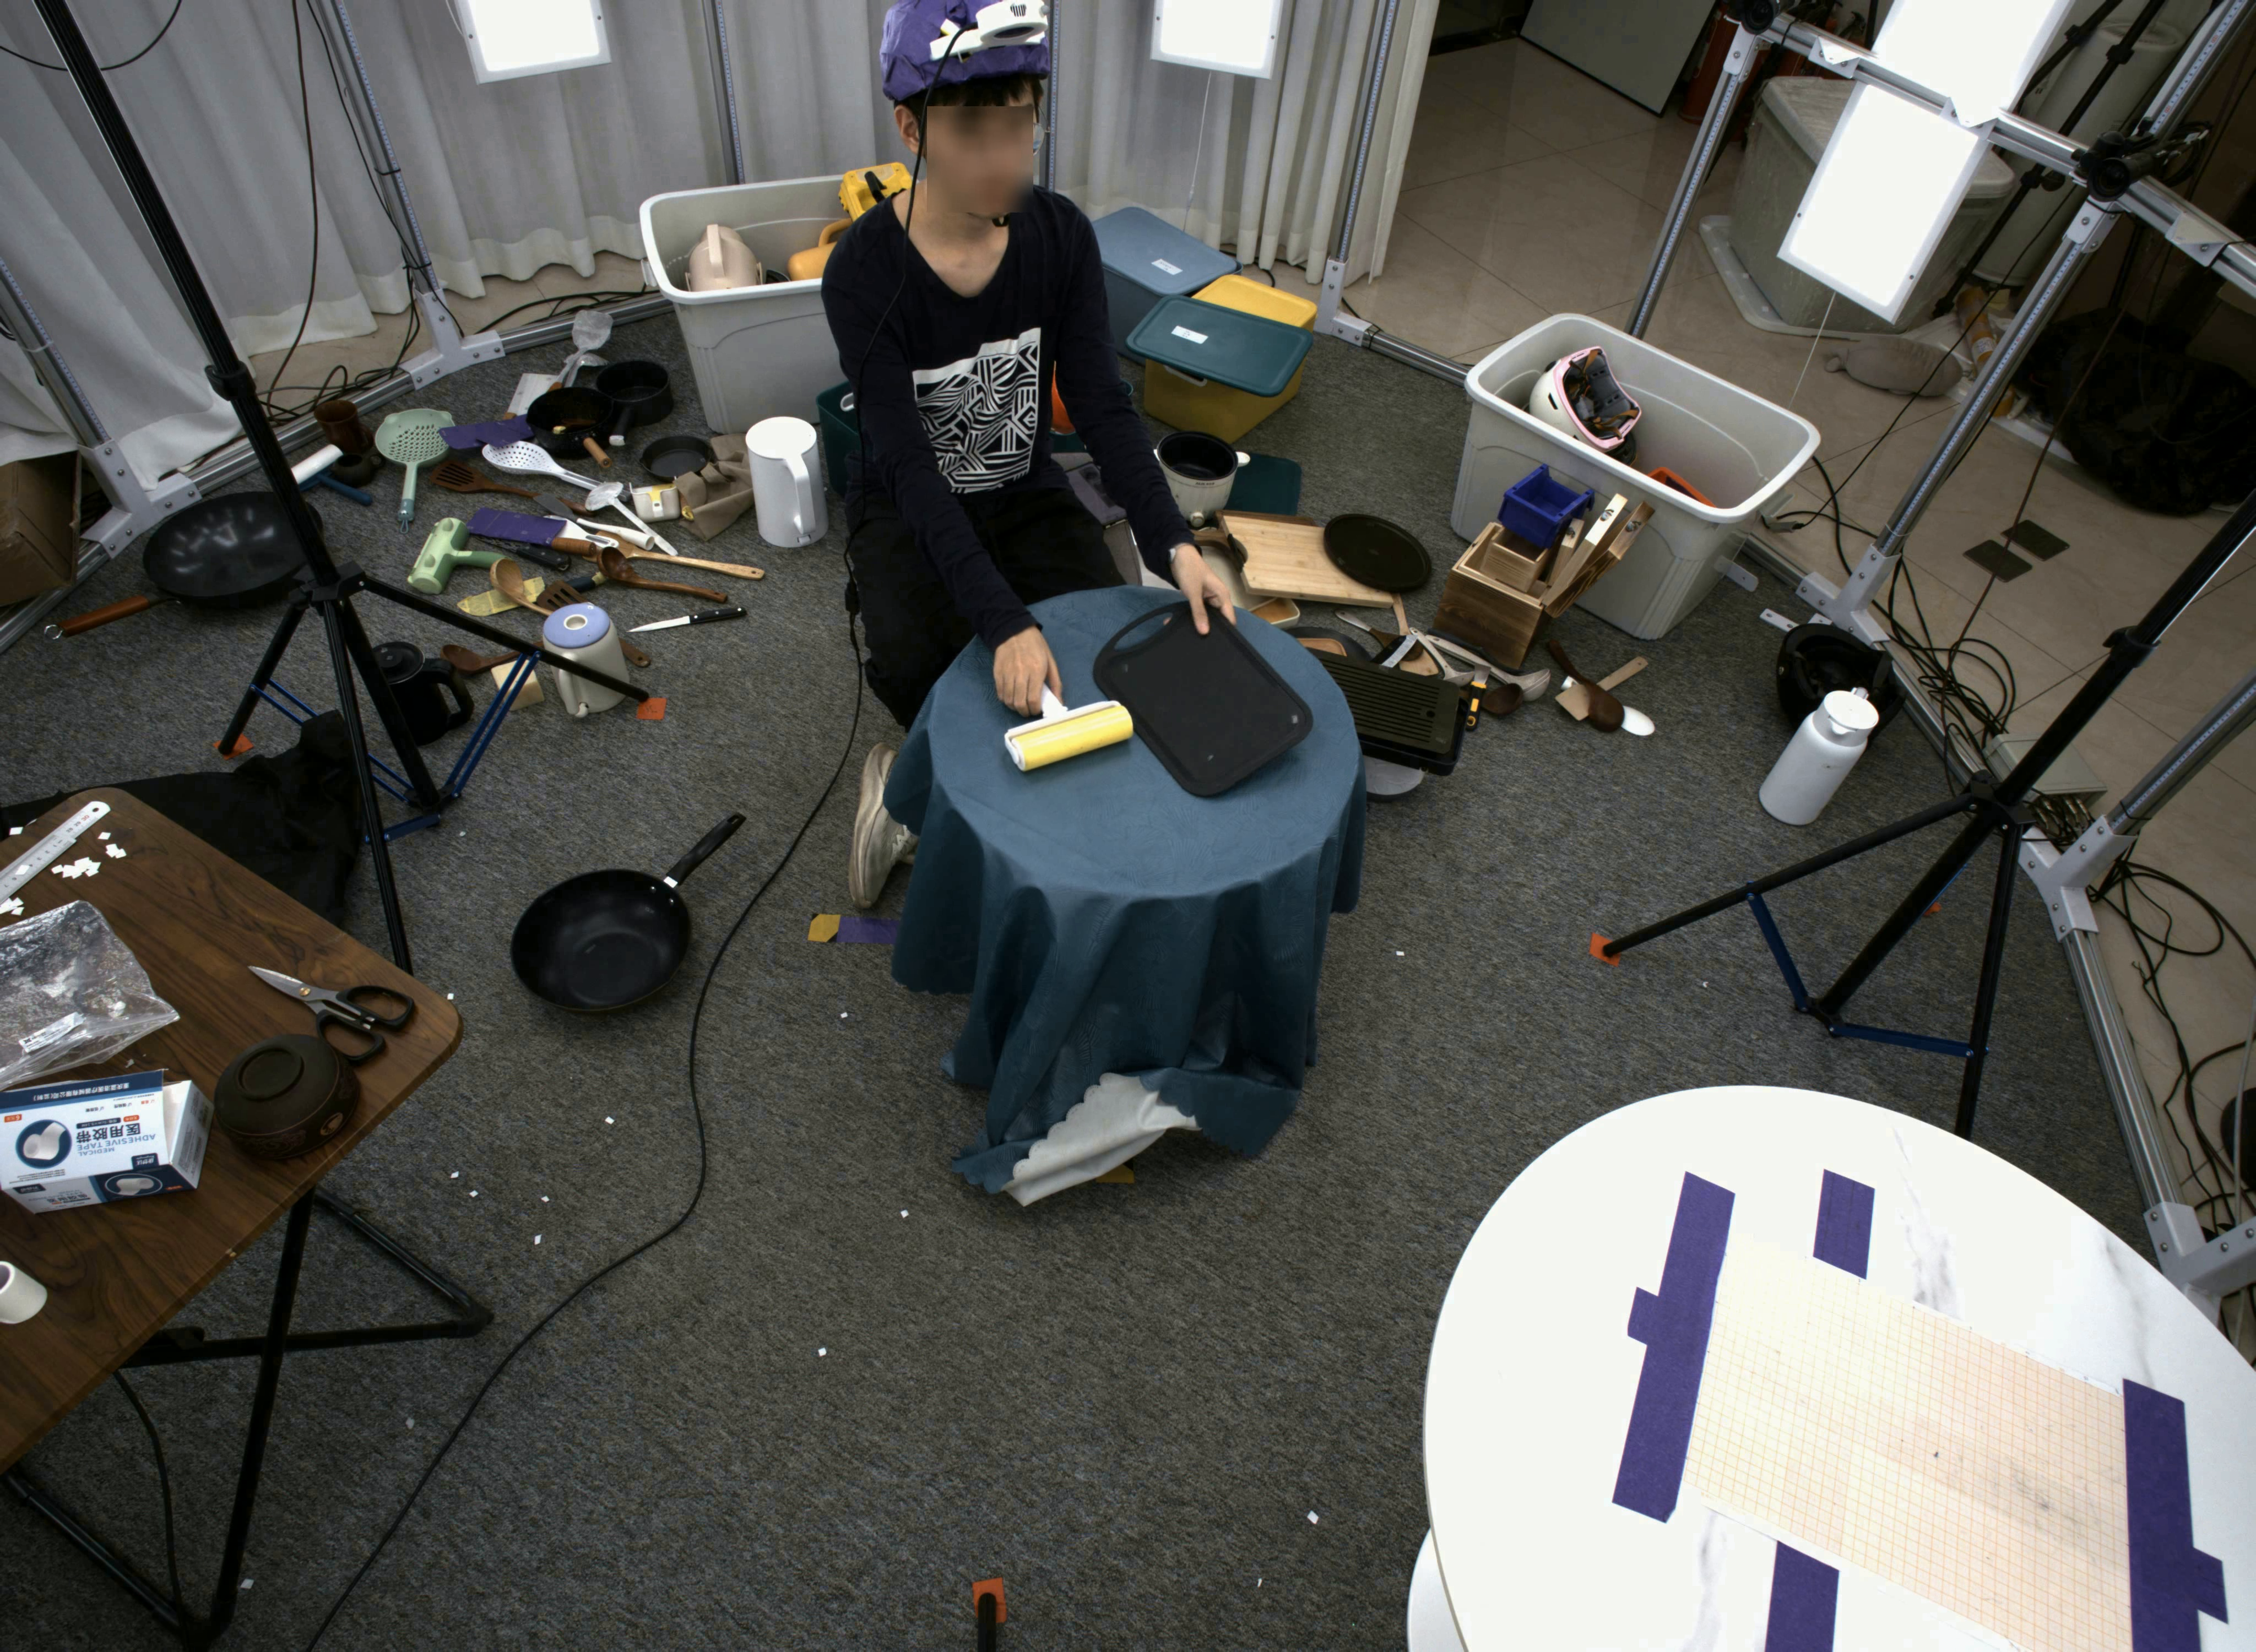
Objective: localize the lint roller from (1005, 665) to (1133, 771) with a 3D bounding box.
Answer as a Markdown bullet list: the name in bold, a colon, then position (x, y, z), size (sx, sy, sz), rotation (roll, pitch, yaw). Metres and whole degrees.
- **lint roller**: position (-0.109, -0.170, 1.775), size (0.174, 0.050, 0.196), rotation (-19, 56, -21)

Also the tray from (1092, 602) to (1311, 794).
- **tray**: position (0.093, -0.192, 1.800), size (0.211, 0.009, 0.332), rotation (-31, 57, -10)
